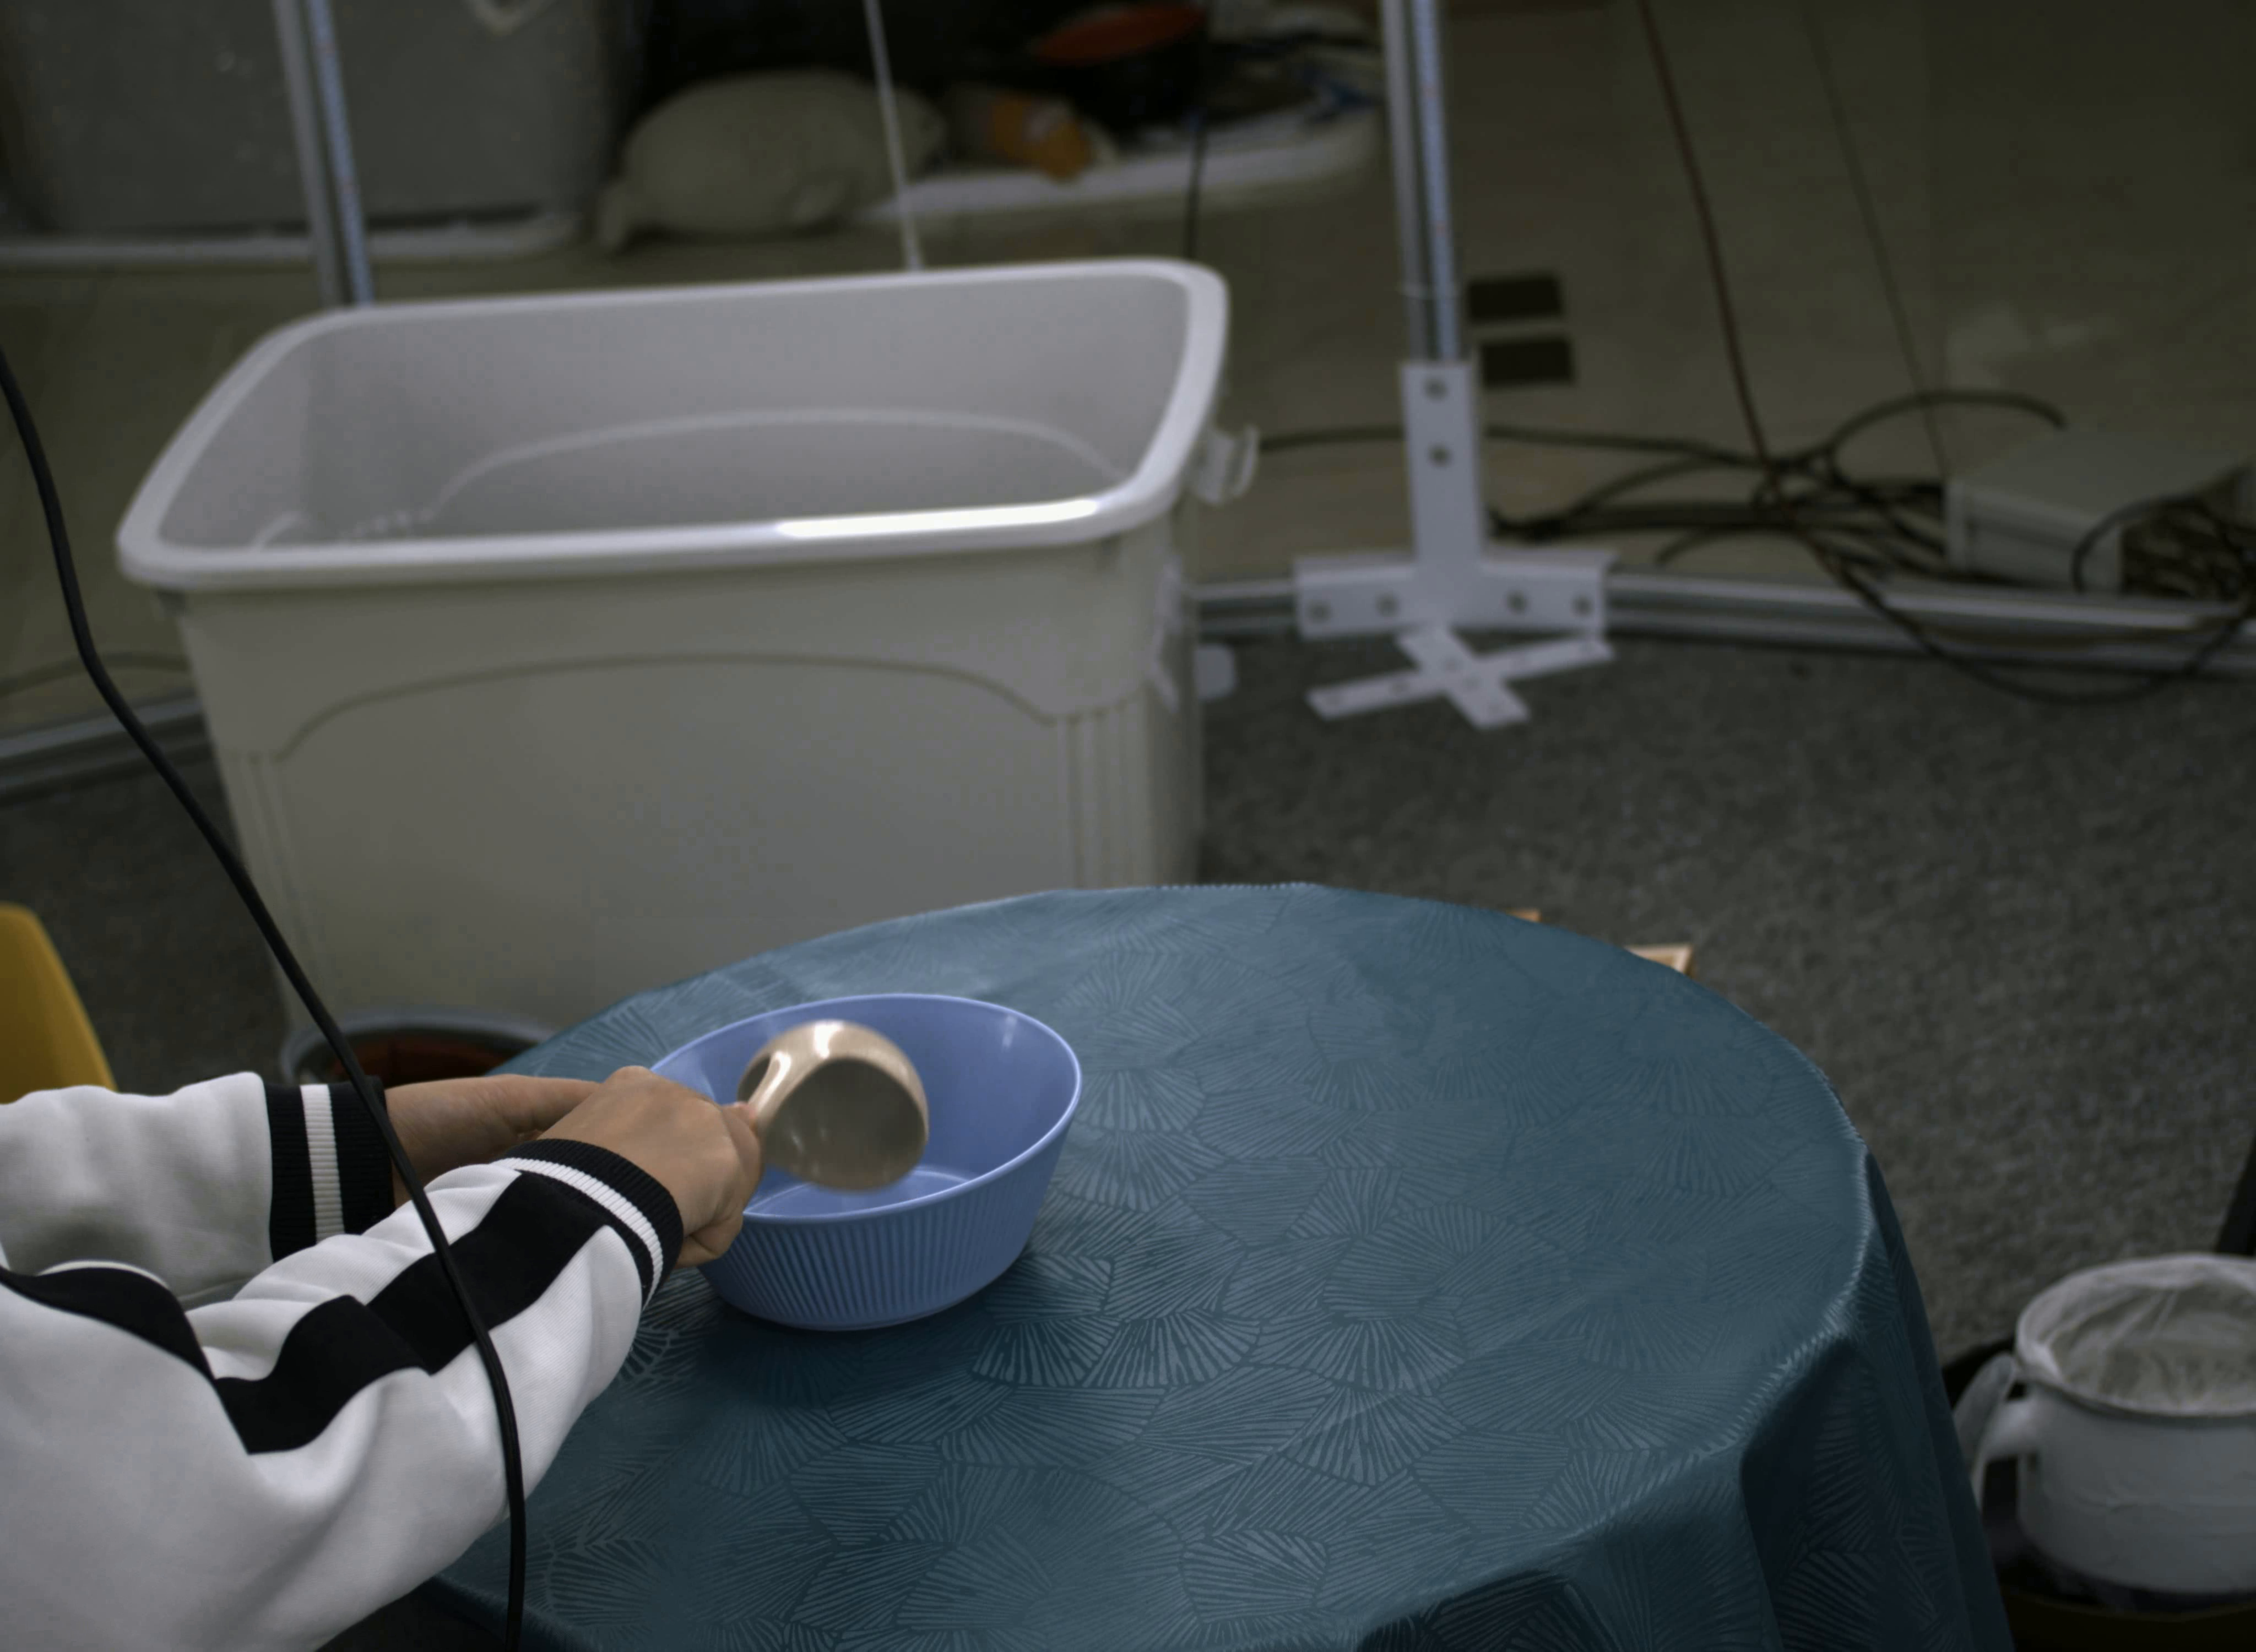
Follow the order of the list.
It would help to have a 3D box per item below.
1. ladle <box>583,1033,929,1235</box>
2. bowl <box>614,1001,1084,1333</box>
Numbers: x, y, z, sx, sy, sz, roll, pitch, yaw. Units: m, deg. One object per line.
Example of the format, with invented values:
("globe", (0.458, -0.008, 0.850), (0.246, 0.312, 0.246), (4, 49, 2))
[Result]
("ladle", (-0.137, 0.136, 2.007), (0.072, 0.073, 0.252), (1, 15, 17))
("bowl", (-0.100, 0.132, 2.105), (0.176, 0.071, 0.173), (-6, 24, 3))
